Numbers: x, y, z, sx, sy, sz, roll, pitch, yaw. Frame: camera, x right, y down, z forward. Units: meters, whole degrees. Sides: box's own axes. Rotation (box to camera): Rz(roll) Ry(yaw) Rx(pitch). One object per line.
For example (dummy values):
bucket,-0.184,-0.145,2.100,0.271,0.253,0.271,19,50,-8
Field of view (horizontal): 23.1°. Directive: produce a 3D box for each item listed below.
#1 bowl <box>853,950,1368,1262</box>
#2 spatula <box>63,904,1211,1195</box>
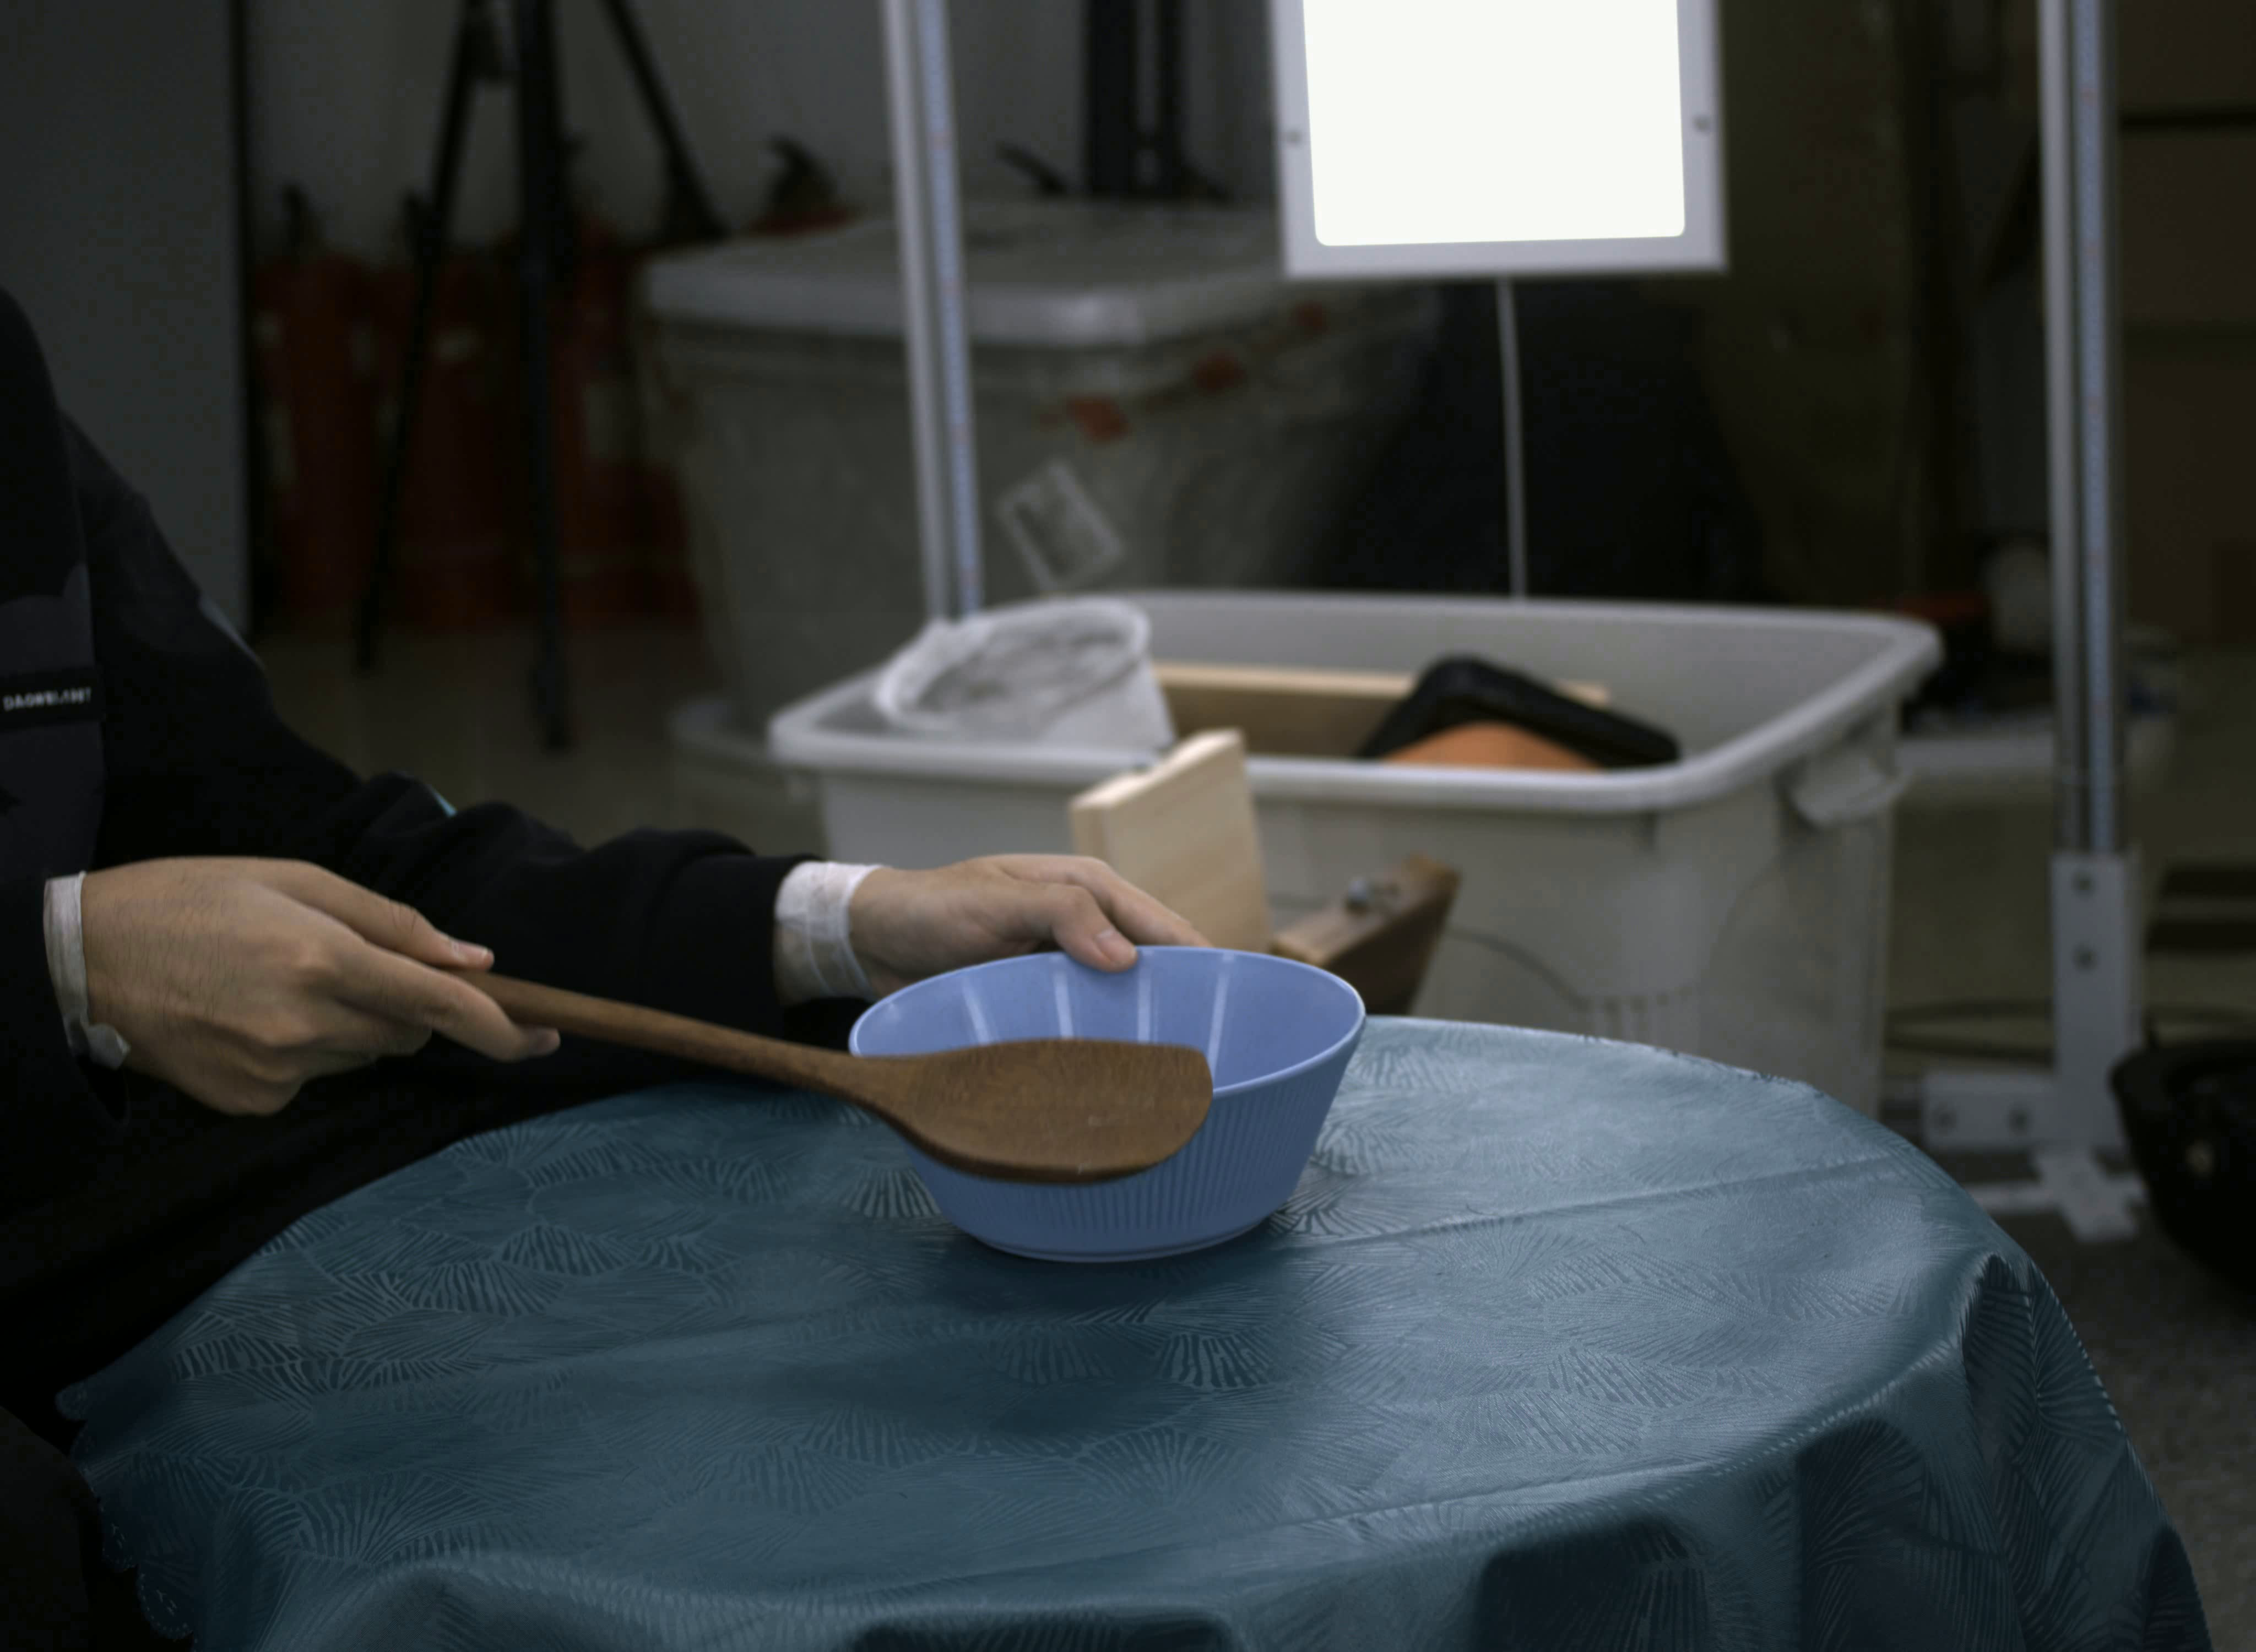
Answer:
bowl,-0.003,0.098,1.865,0.175,0.070,0.176,-5,14,0
spatula,-0.162,0.065,1.753,0.389,0.016,0.094,11,26,15
